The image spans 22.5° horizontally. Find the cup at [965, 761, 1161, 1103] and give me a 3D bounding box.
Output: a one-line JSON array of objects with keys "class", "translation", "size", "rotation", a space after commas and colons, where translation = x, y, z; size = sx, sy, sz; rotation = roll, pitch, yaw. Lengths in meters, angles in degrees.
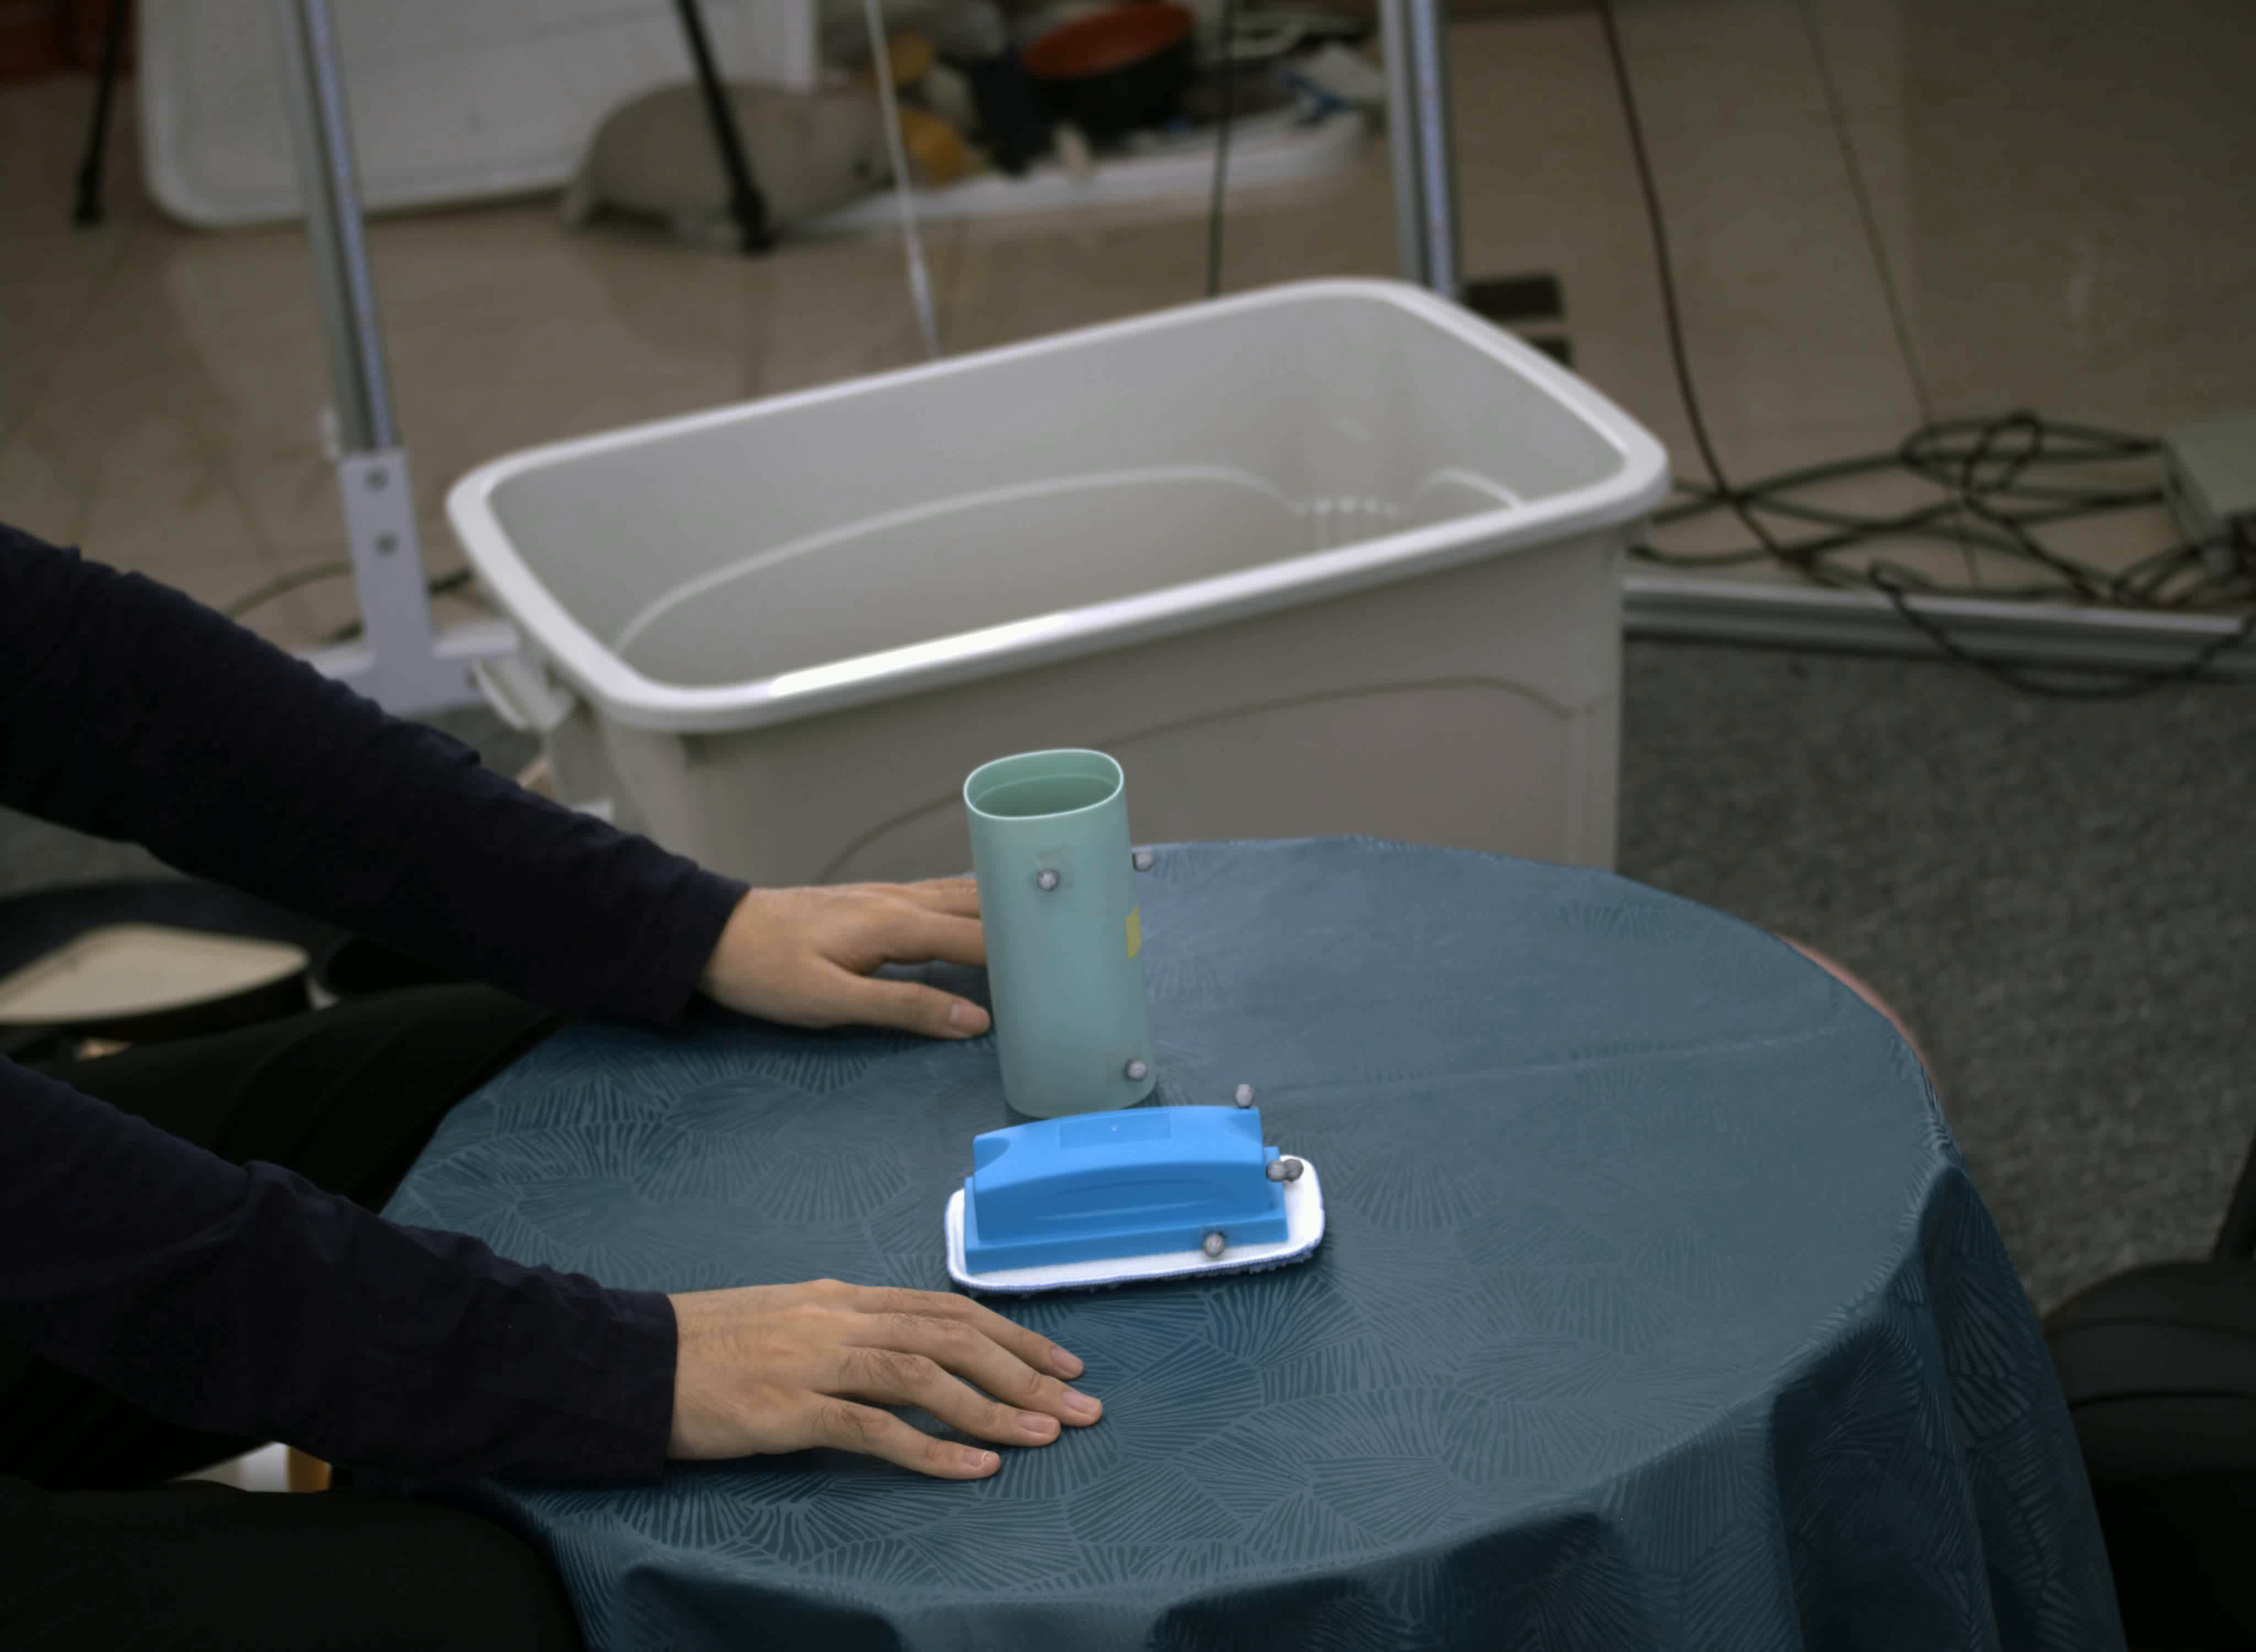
[{"class": "cup", "translation": [-0.026, 0.047, 2.207], "size": [0.066, 0.134, 0.066], "rotation": [-6, 26, 3]}]

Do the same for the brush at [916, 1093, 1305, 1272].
[{"class": "brush", "translation": [-0.007, 0.129, 2.098], "size": [0.144, 0.057, 0.083], "rotation": [-3, 22, 2]}]
